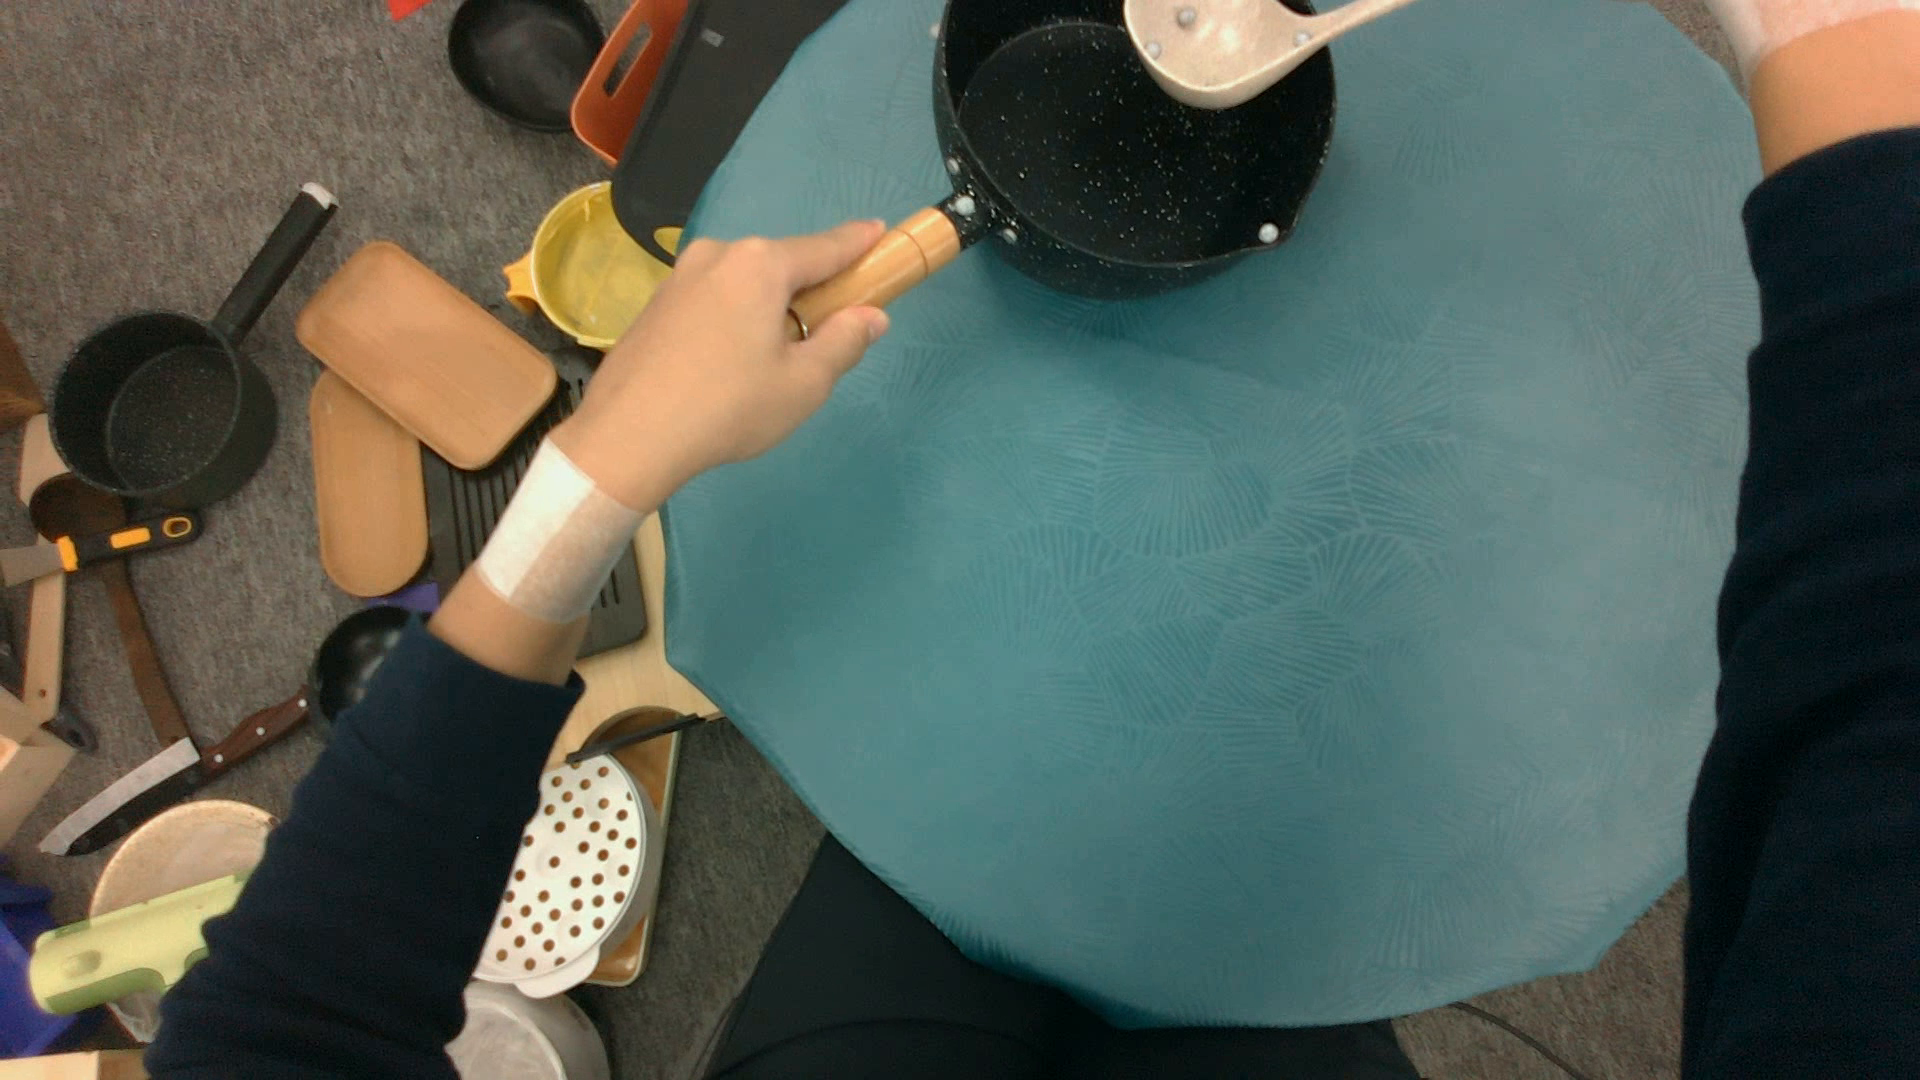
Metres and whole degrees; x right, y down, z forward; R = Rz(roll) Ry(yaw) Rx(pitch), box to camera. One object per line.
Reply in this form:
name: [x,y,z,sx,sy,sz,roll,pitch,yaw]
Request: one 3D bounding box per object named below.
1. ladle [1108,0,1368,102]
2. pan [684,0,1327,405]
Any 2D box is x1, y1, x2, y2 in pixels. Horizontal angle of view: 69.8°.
ladle: [0.185,-0.256,0.568,0.069,0.274,0.090,51,50,-26]
pan: [0.016,-0.155,0.626,0.344,0.108,0.207,-41,89,-17]
